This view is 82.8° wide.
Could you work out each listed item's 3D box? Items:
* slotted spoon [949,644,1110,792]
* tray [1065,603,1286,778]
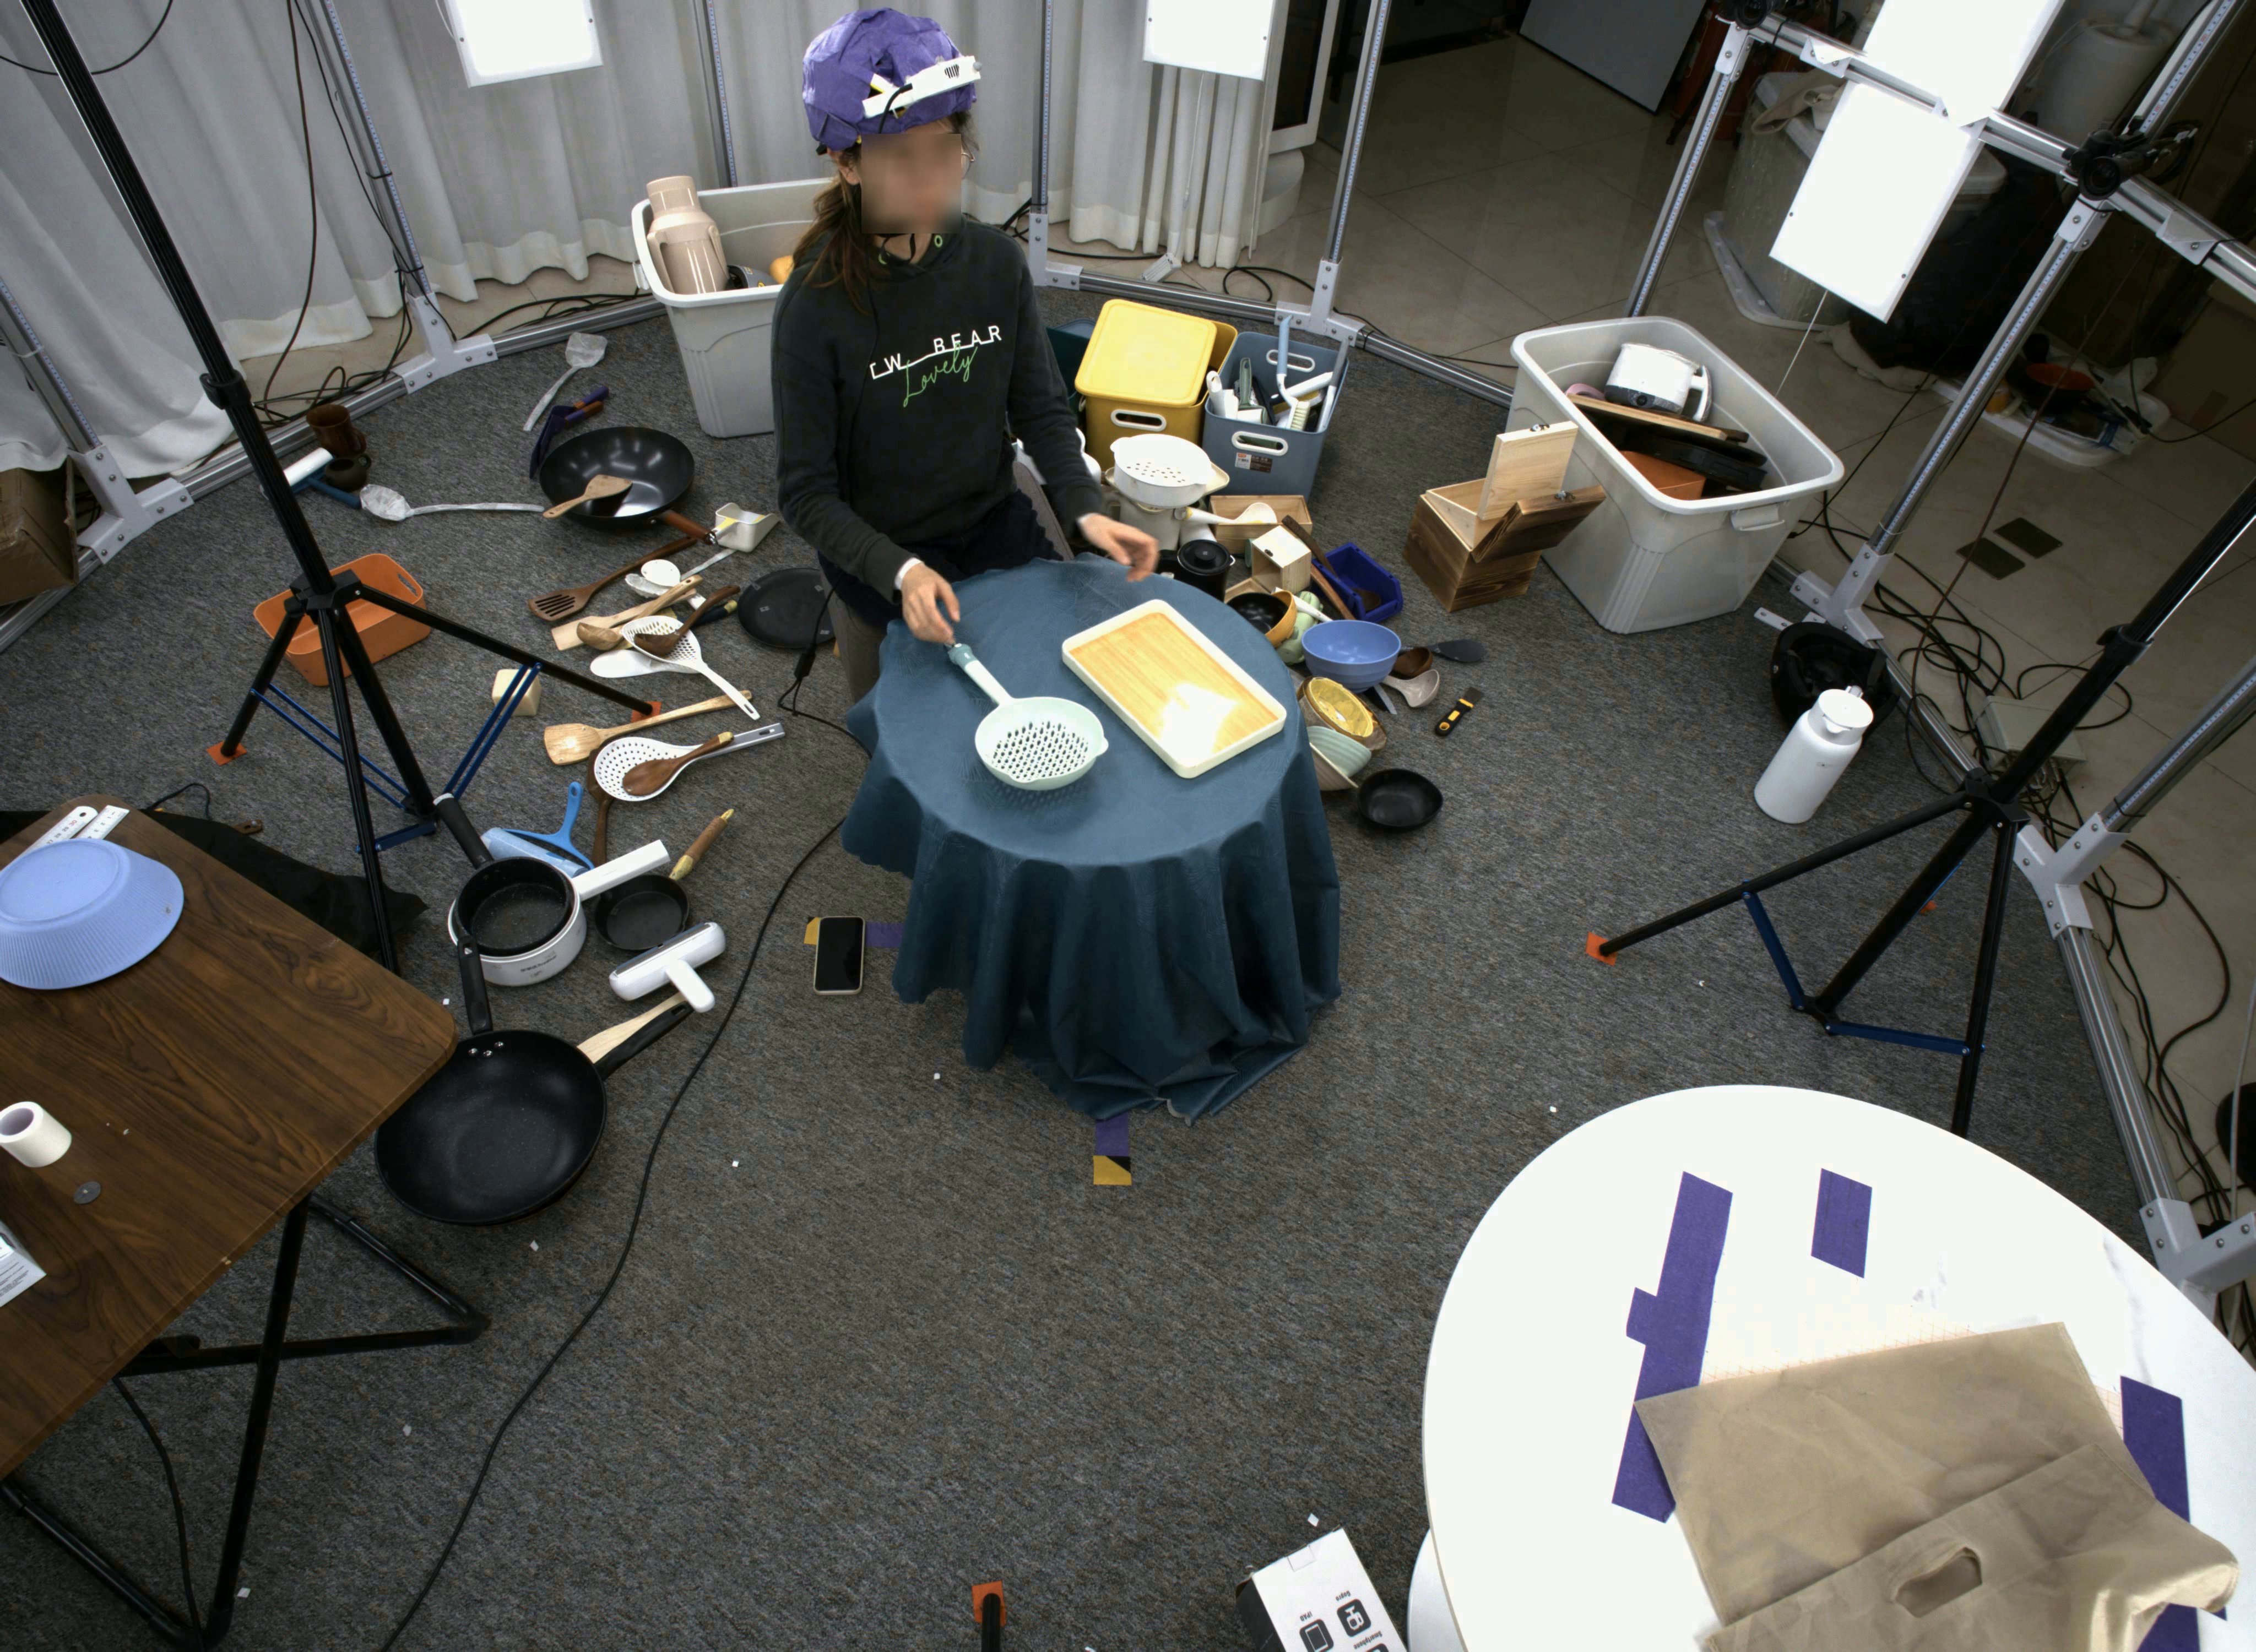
[{"bbox_3d":[-0.166,-0.165,1.775,0.170,0.073,0.366,-22,54,-22],"label":"slotted spoon"},{"bbox_3d":[0.065,-0.201,1.847,0.192,0.027,0.306,-28,56,-25],"label":"tray"}]
